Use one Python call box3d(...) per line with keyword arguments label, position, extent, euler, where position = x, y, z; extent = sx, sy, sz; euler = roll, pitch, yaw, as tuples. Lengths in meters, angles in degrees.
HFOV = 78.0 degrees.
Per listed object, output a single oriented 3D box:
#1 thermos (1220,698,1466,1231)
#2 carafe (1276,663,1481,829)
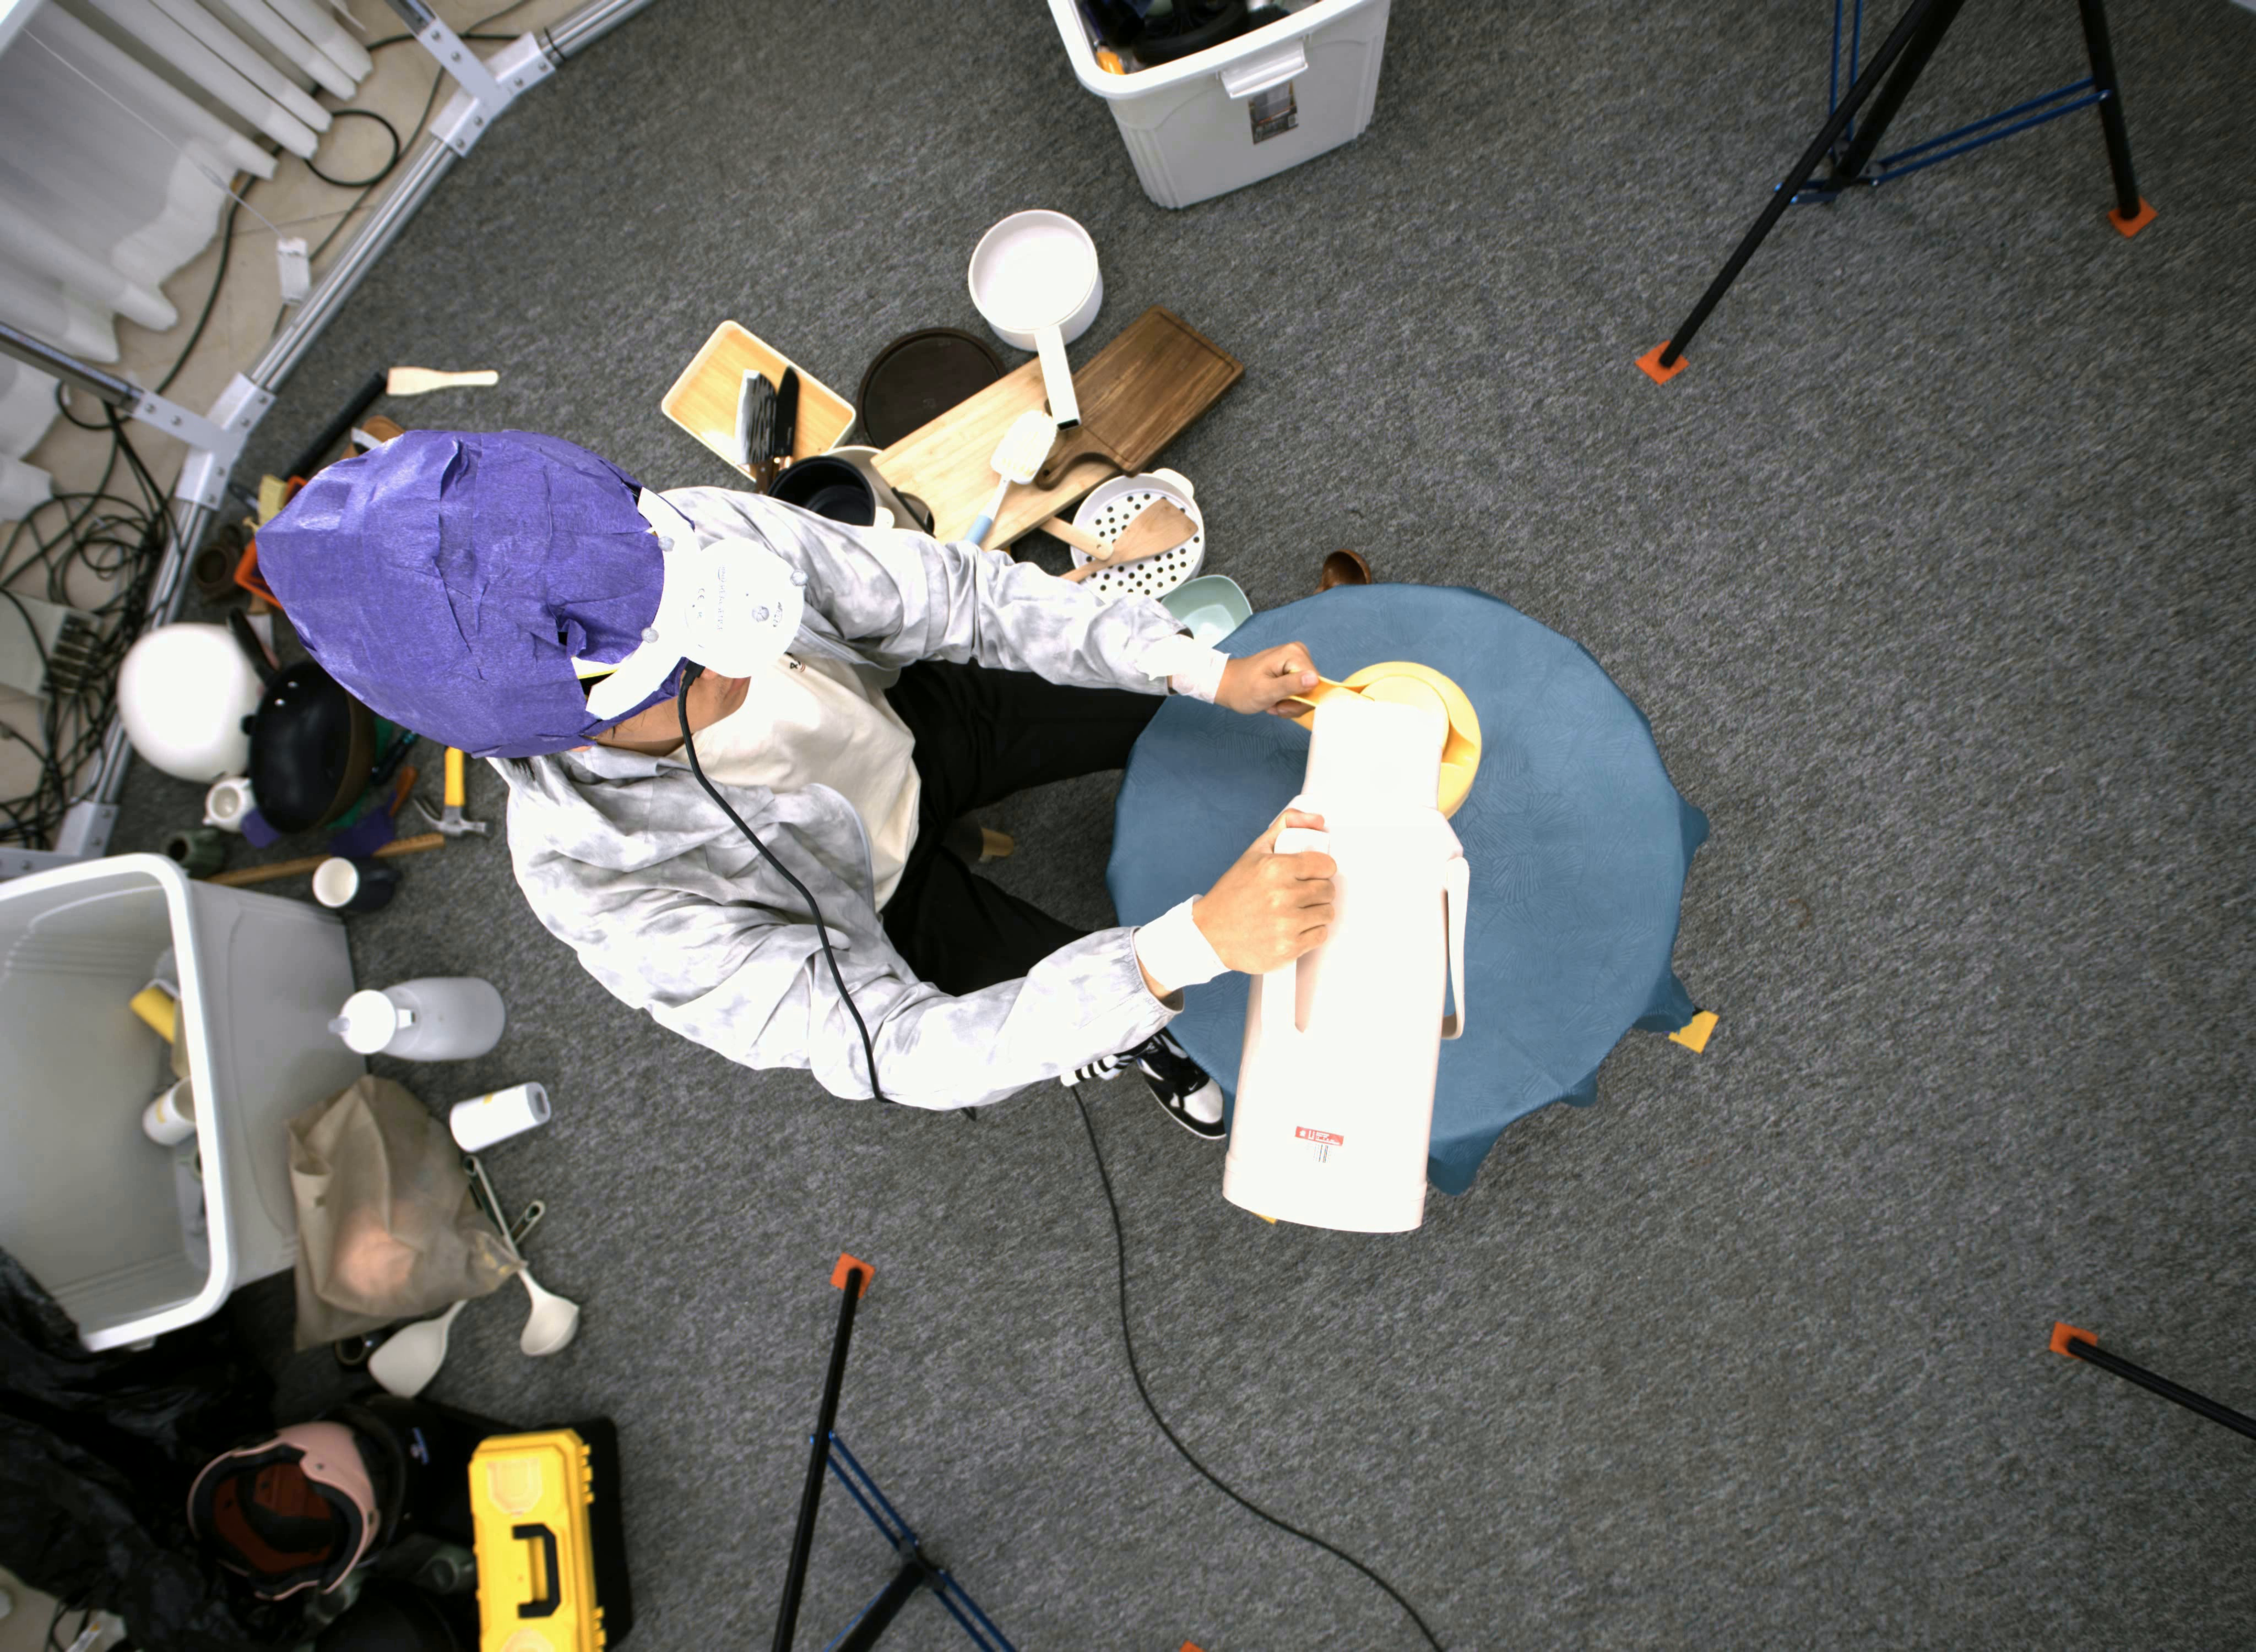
box3d(label="thermos", position=(0.166, 0.104, 1.095), extent=(0.176, 0.206, 0.405), euler=(7, 89, 38))
box3d(label="carafe", position=(0.243, -0.087, 1.339), extent=(0.202, 0.261, 0.163), euler=(26, 87, 10))
